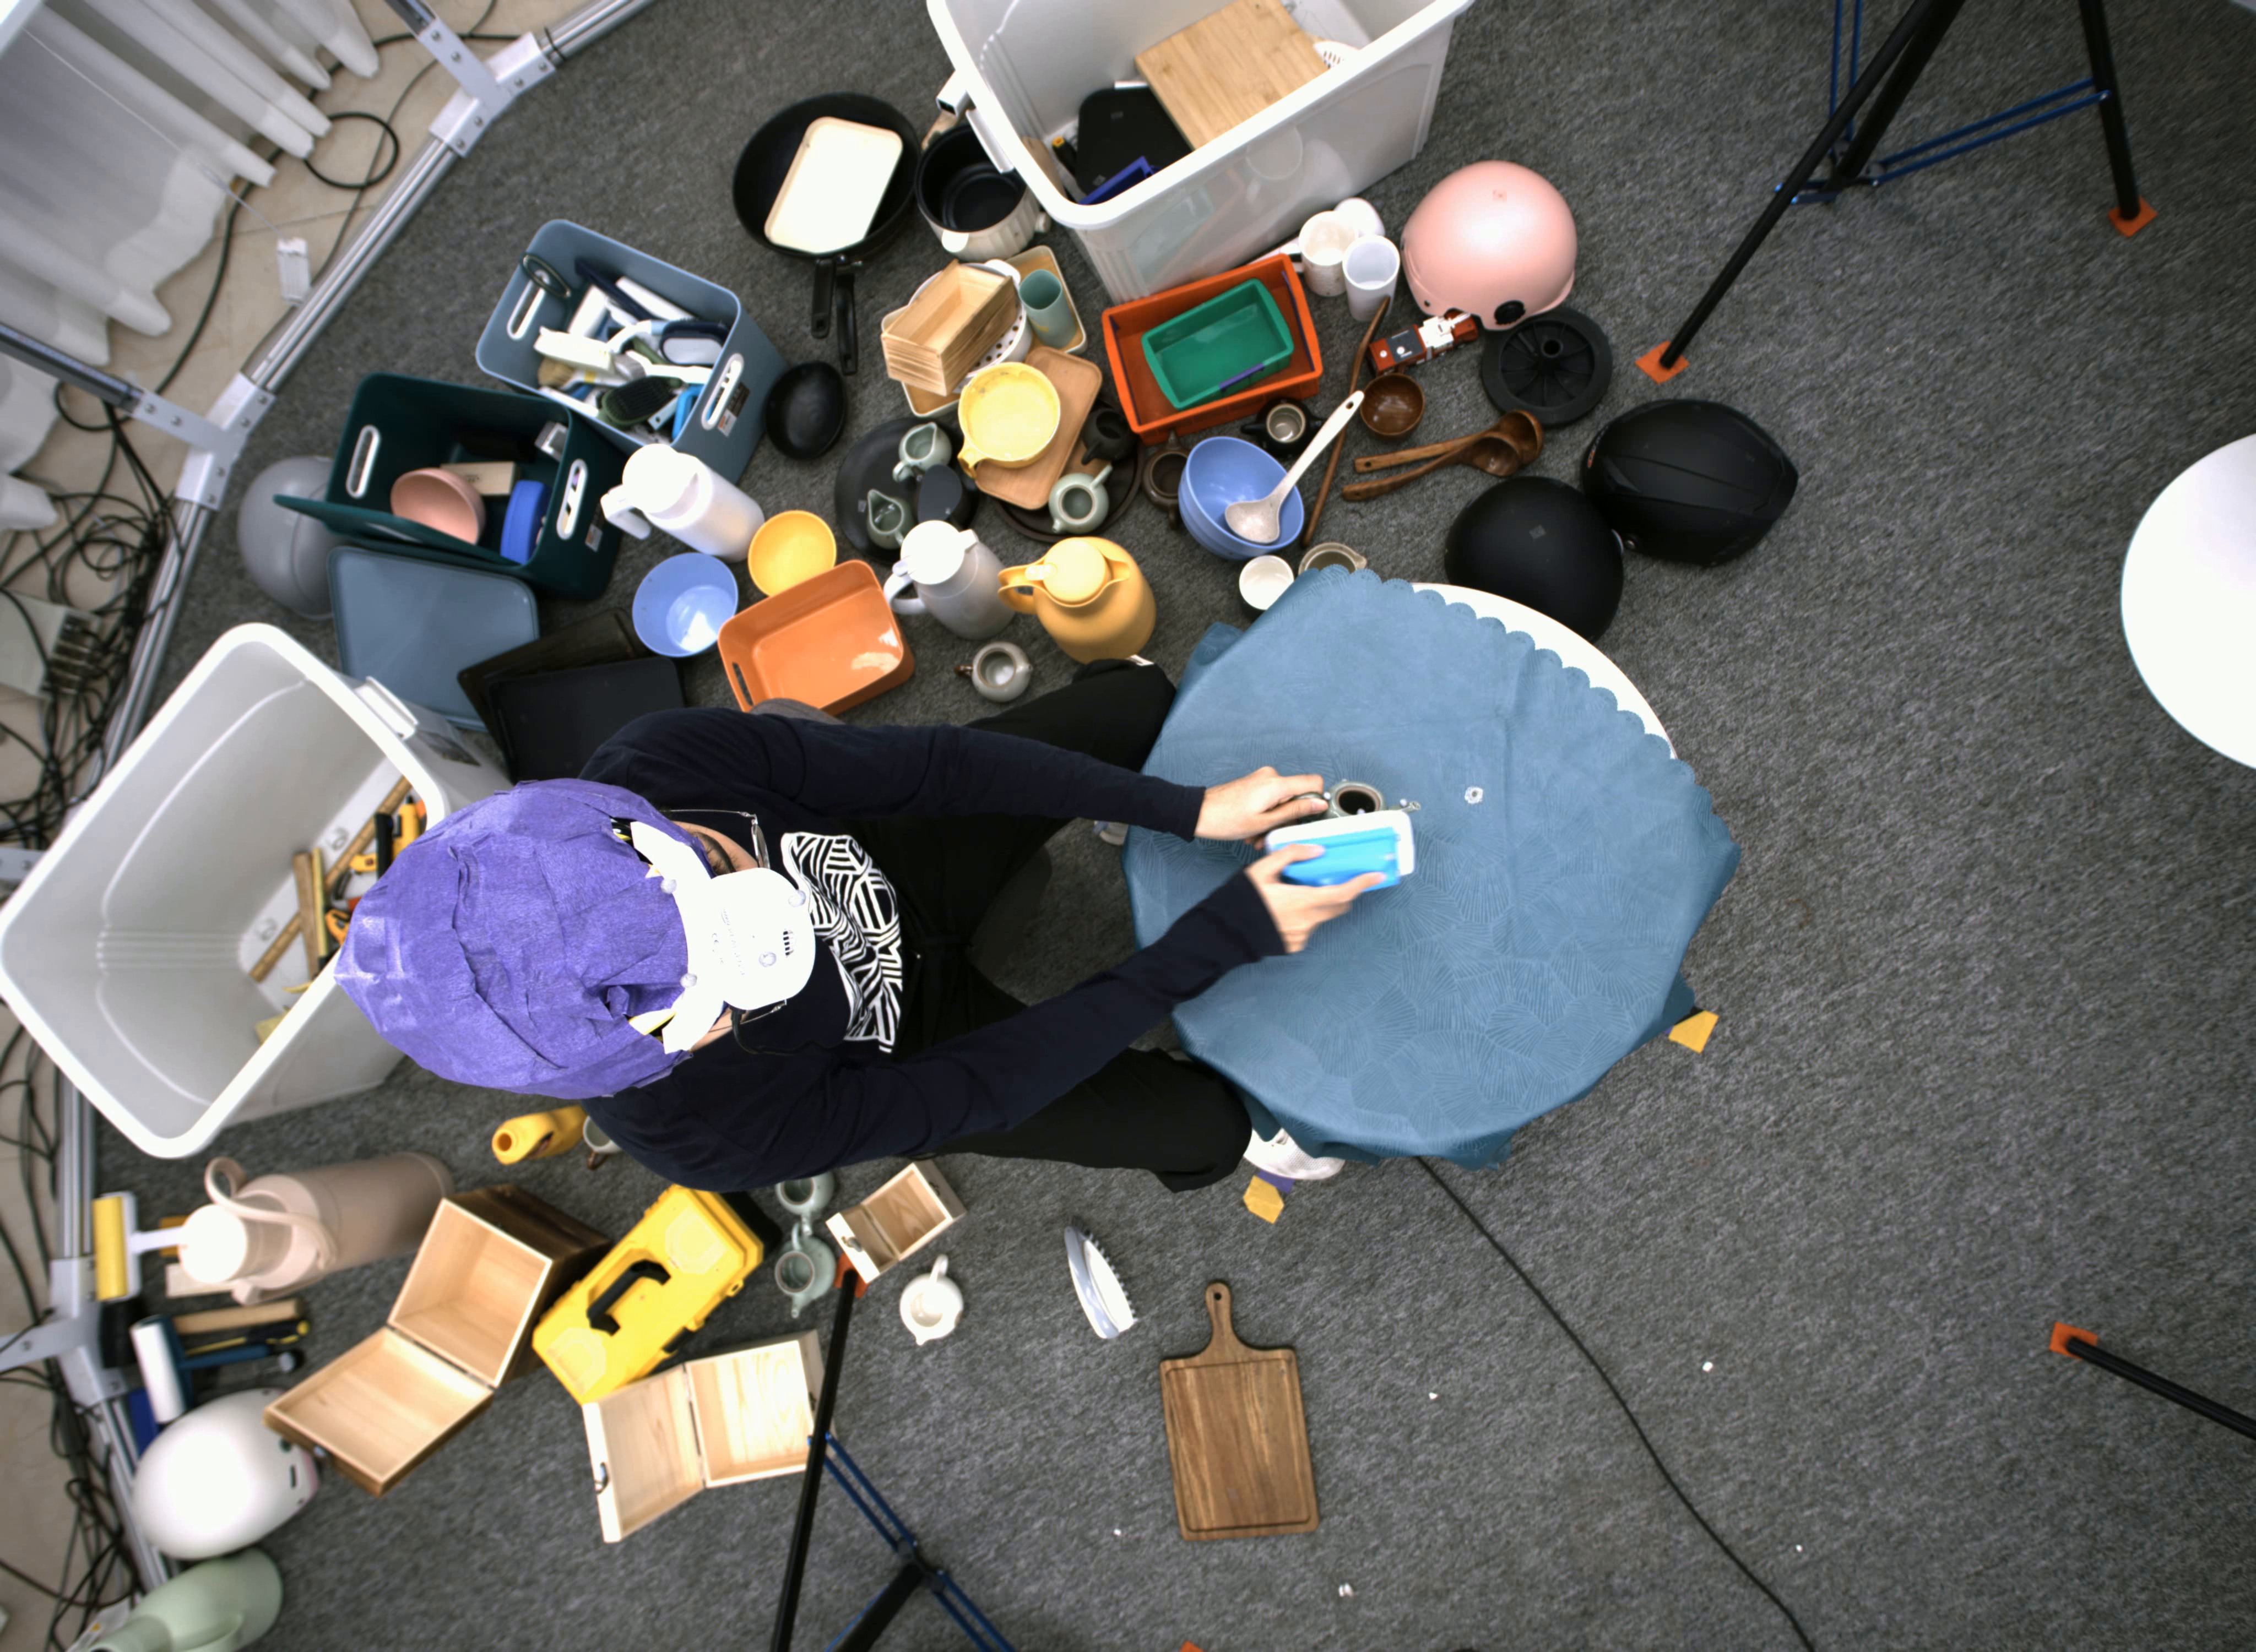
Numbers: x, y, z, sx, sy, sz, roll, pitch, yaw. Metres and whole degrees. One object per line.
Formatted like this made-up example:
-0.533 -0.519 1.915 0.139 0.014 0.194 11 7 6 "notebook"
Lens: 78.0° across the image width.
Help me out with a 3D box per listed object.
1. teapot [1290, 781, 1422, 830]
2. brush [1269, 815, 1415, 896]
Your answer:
0.227 -0.004 1.403 0.132 0.077 0.077 5 46 -1 "teapot"
0.213 0.036 1.362 0.144 0.054 0.086 -6 126 6 "brush"
